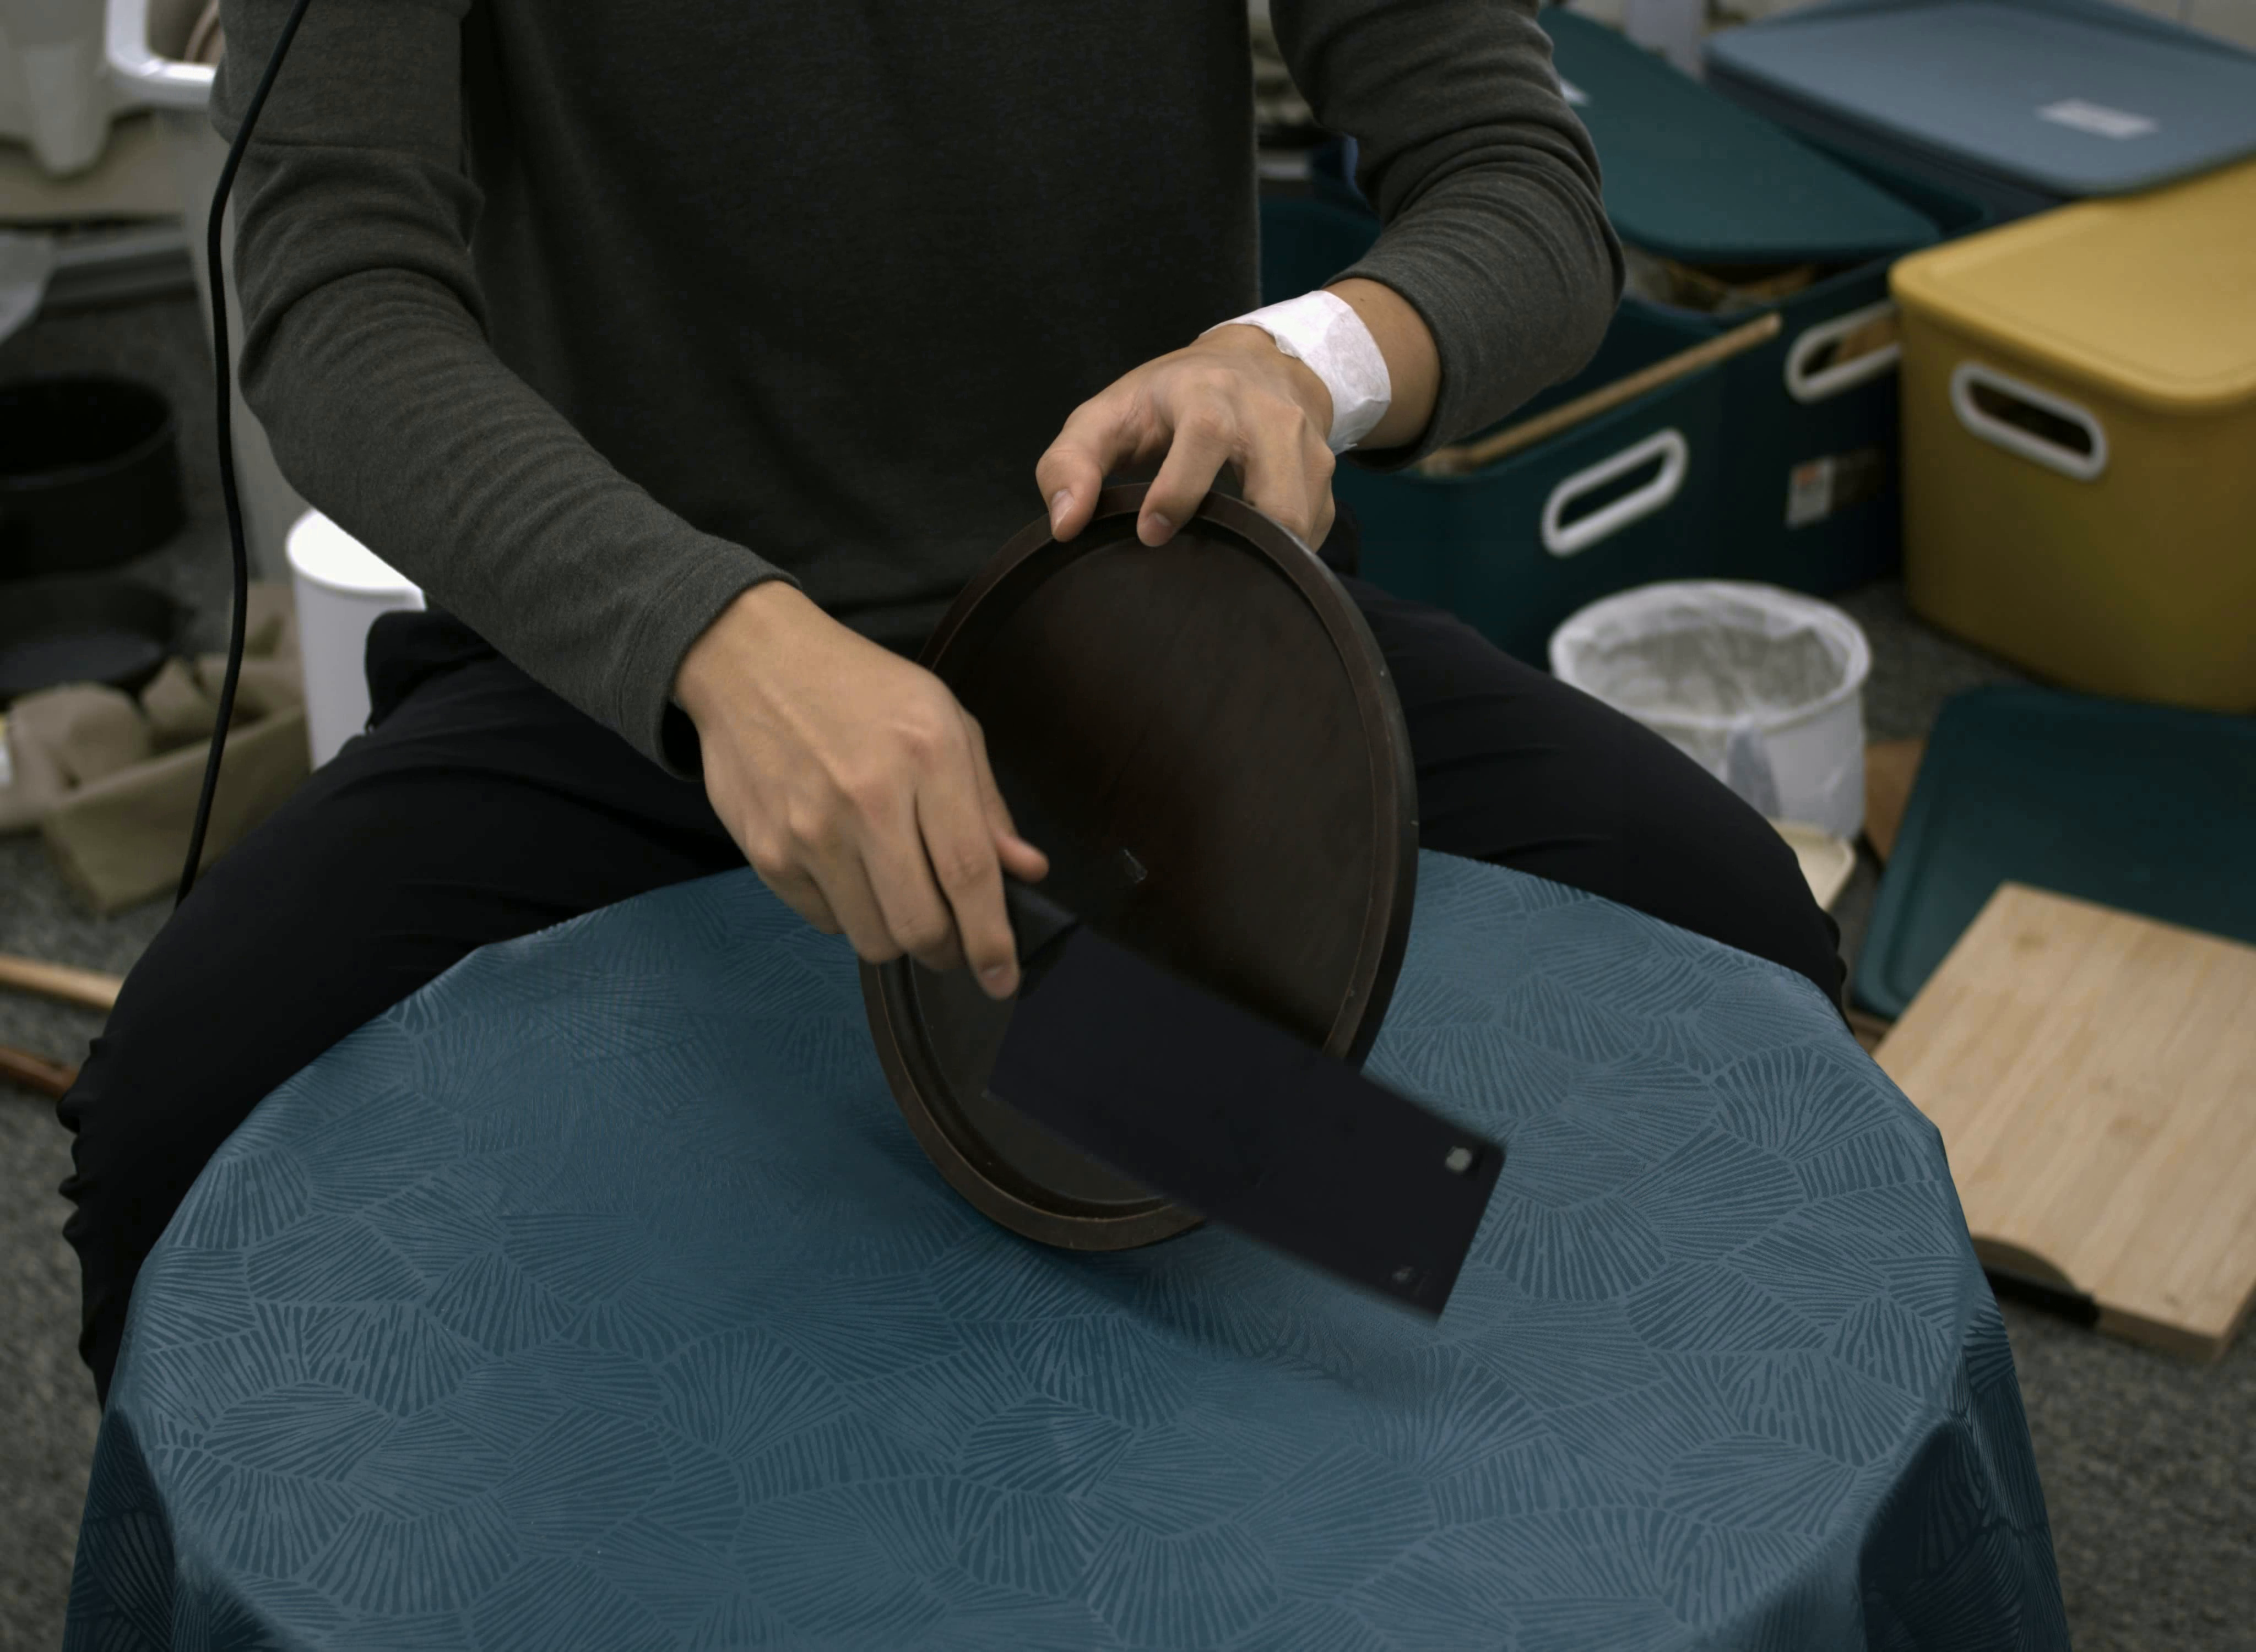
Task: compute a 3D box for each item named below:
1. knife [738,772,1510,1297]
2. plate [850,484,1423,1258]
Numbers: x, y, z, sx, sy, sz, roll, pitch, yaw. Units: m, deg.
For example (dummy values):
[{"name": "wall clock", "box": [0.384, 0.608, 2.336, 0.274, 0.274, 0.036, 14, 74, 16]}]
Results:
[{"name": "knife", "box": [-0.008, 0.060, 1.786, 0.302, 0.080, 0.021, 30, 11, 29]}, {"name": "plate", "box": [0.001, 0.014, 1.834, 0.029, 0.254, 0.255, 10, 12, -45]}]
